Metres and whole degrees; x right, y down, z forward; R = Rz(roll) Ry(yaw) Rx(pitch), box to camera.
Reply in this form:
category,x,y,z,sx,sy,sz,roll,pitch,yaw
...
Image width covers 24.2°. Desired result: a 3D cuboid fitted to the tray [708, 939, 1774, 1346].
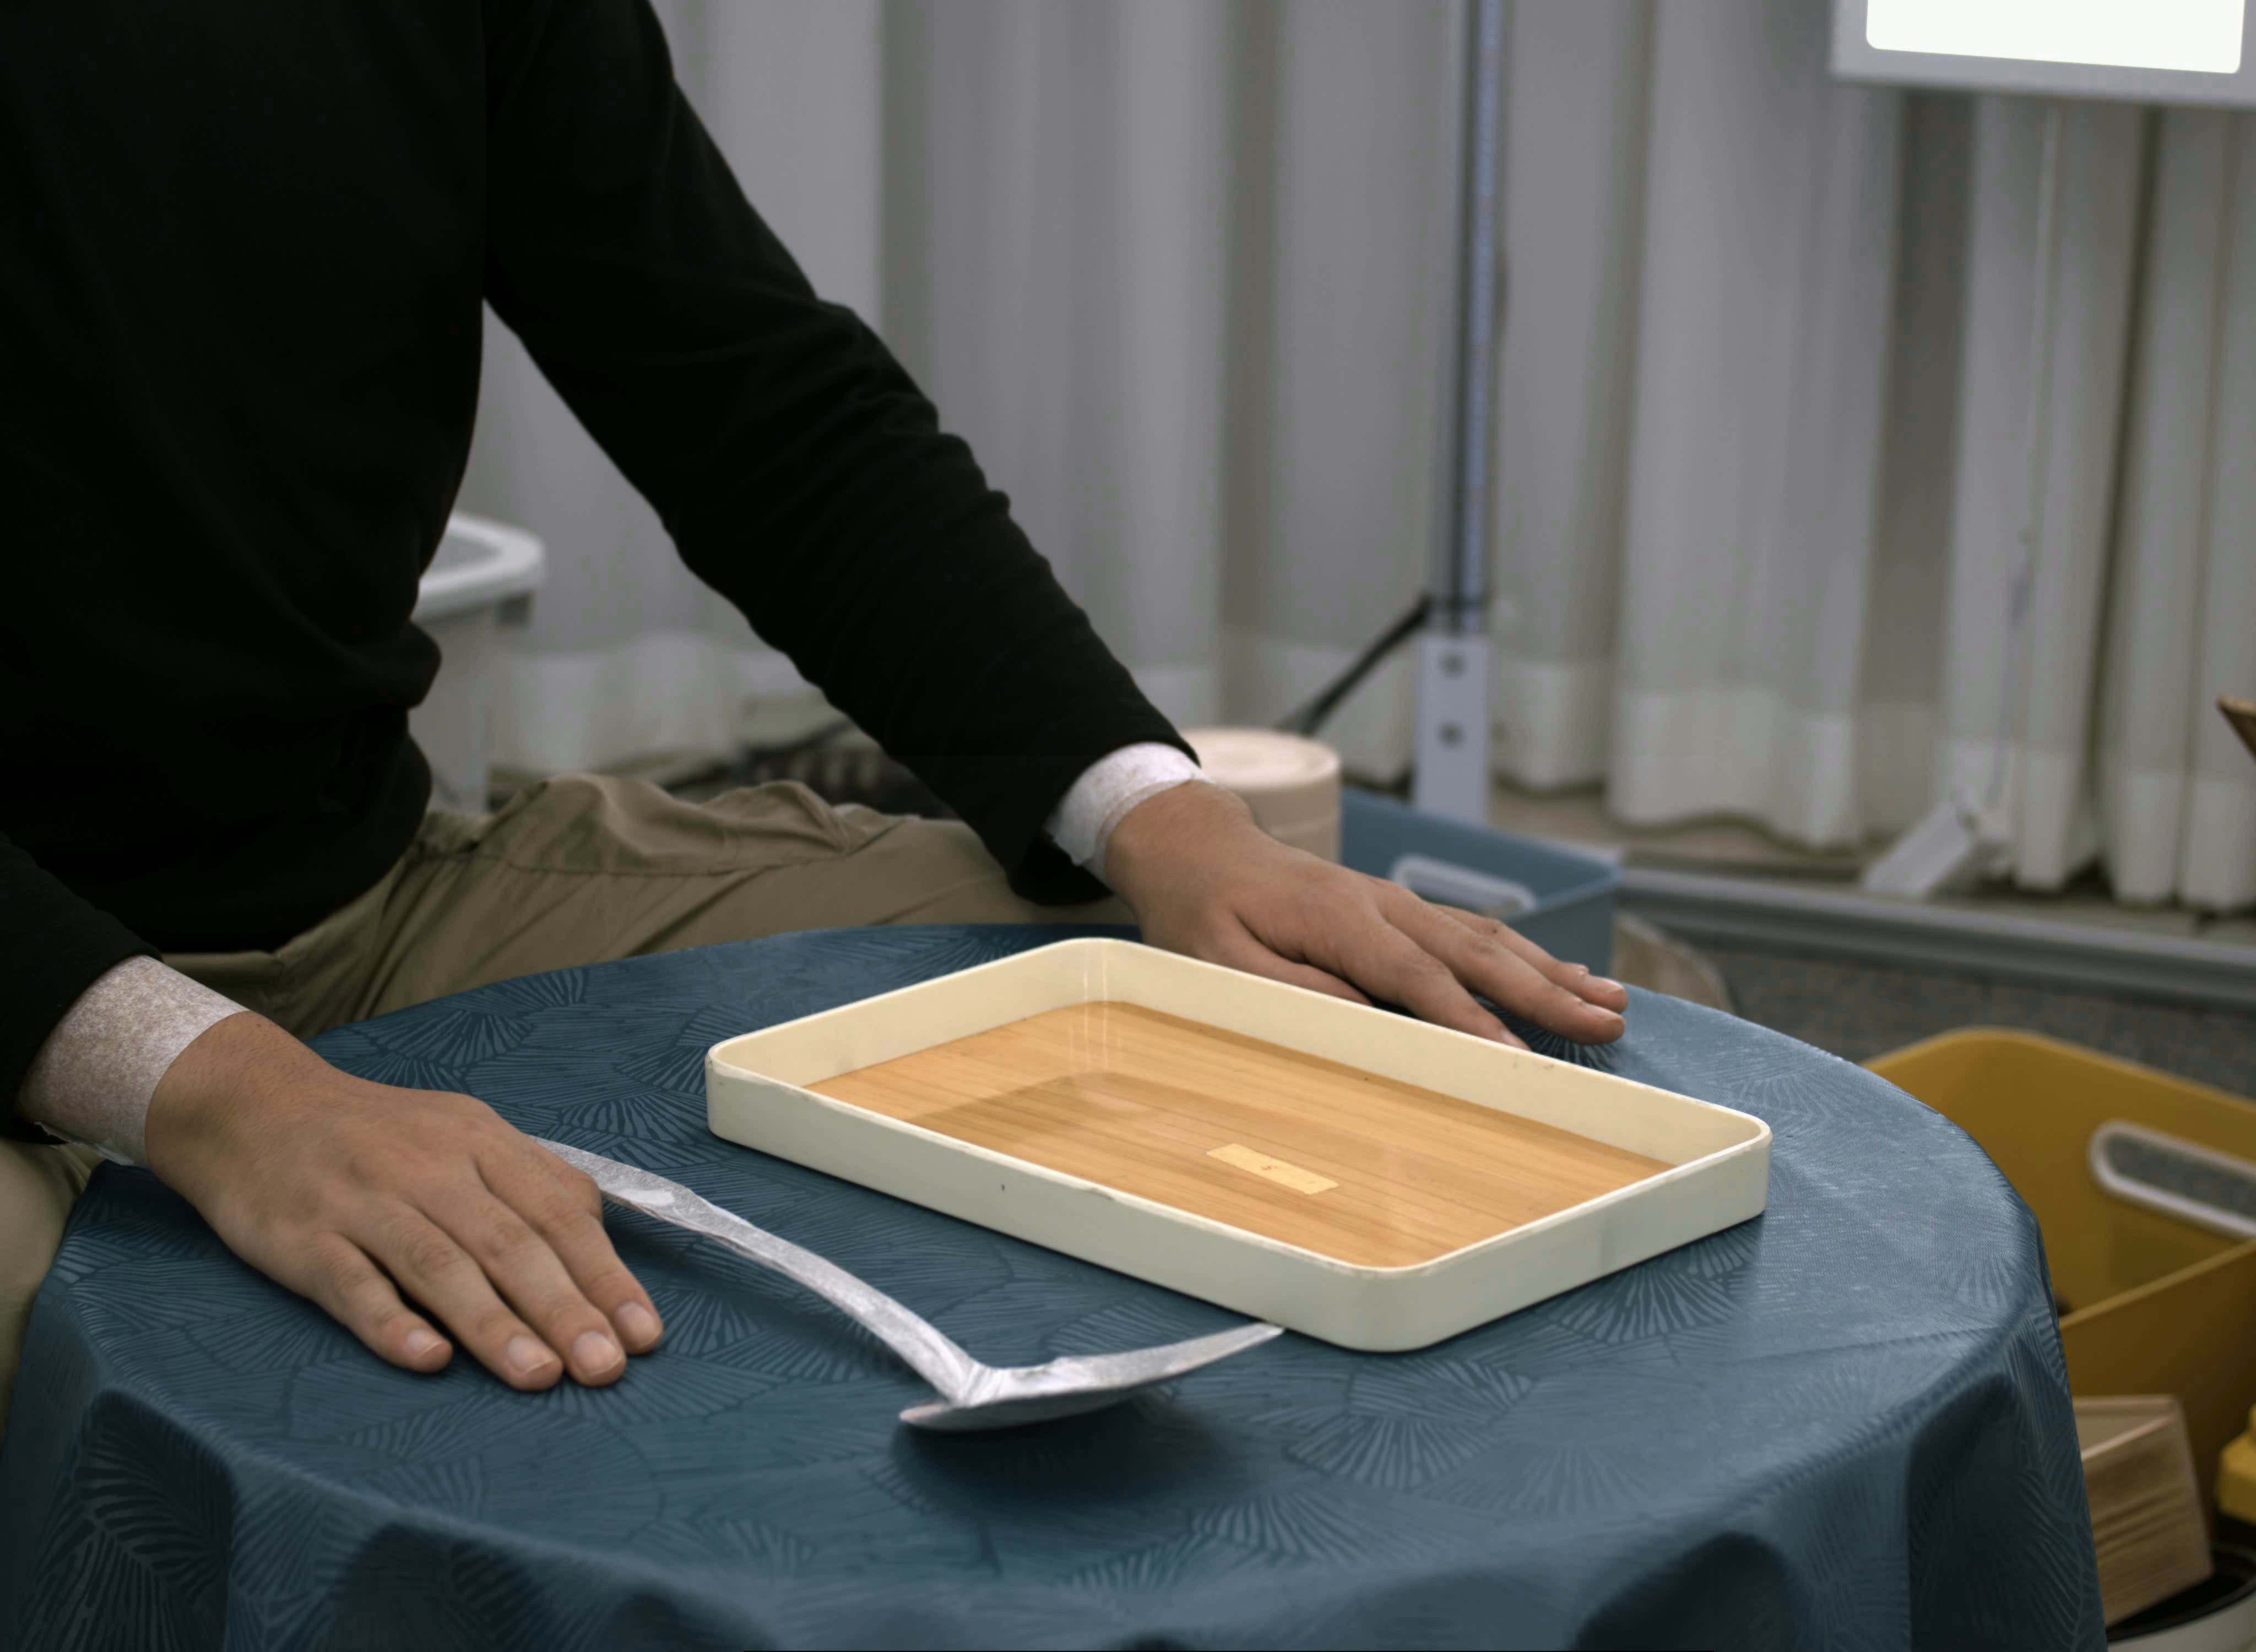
category,x,y,z,sx,sy,sz,roll,pitch,yaw
tray,0.032,0.094,1.638,0.296,0.027,0.192,15,21,42

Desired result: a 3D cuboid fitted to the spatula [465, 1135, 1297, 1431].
category,x,y,z,sx,sy,sz,roll,pitch,yaw
spatula,-0.096,0.121,1.514,0.099,0.045,0.360,-13,21,-38
